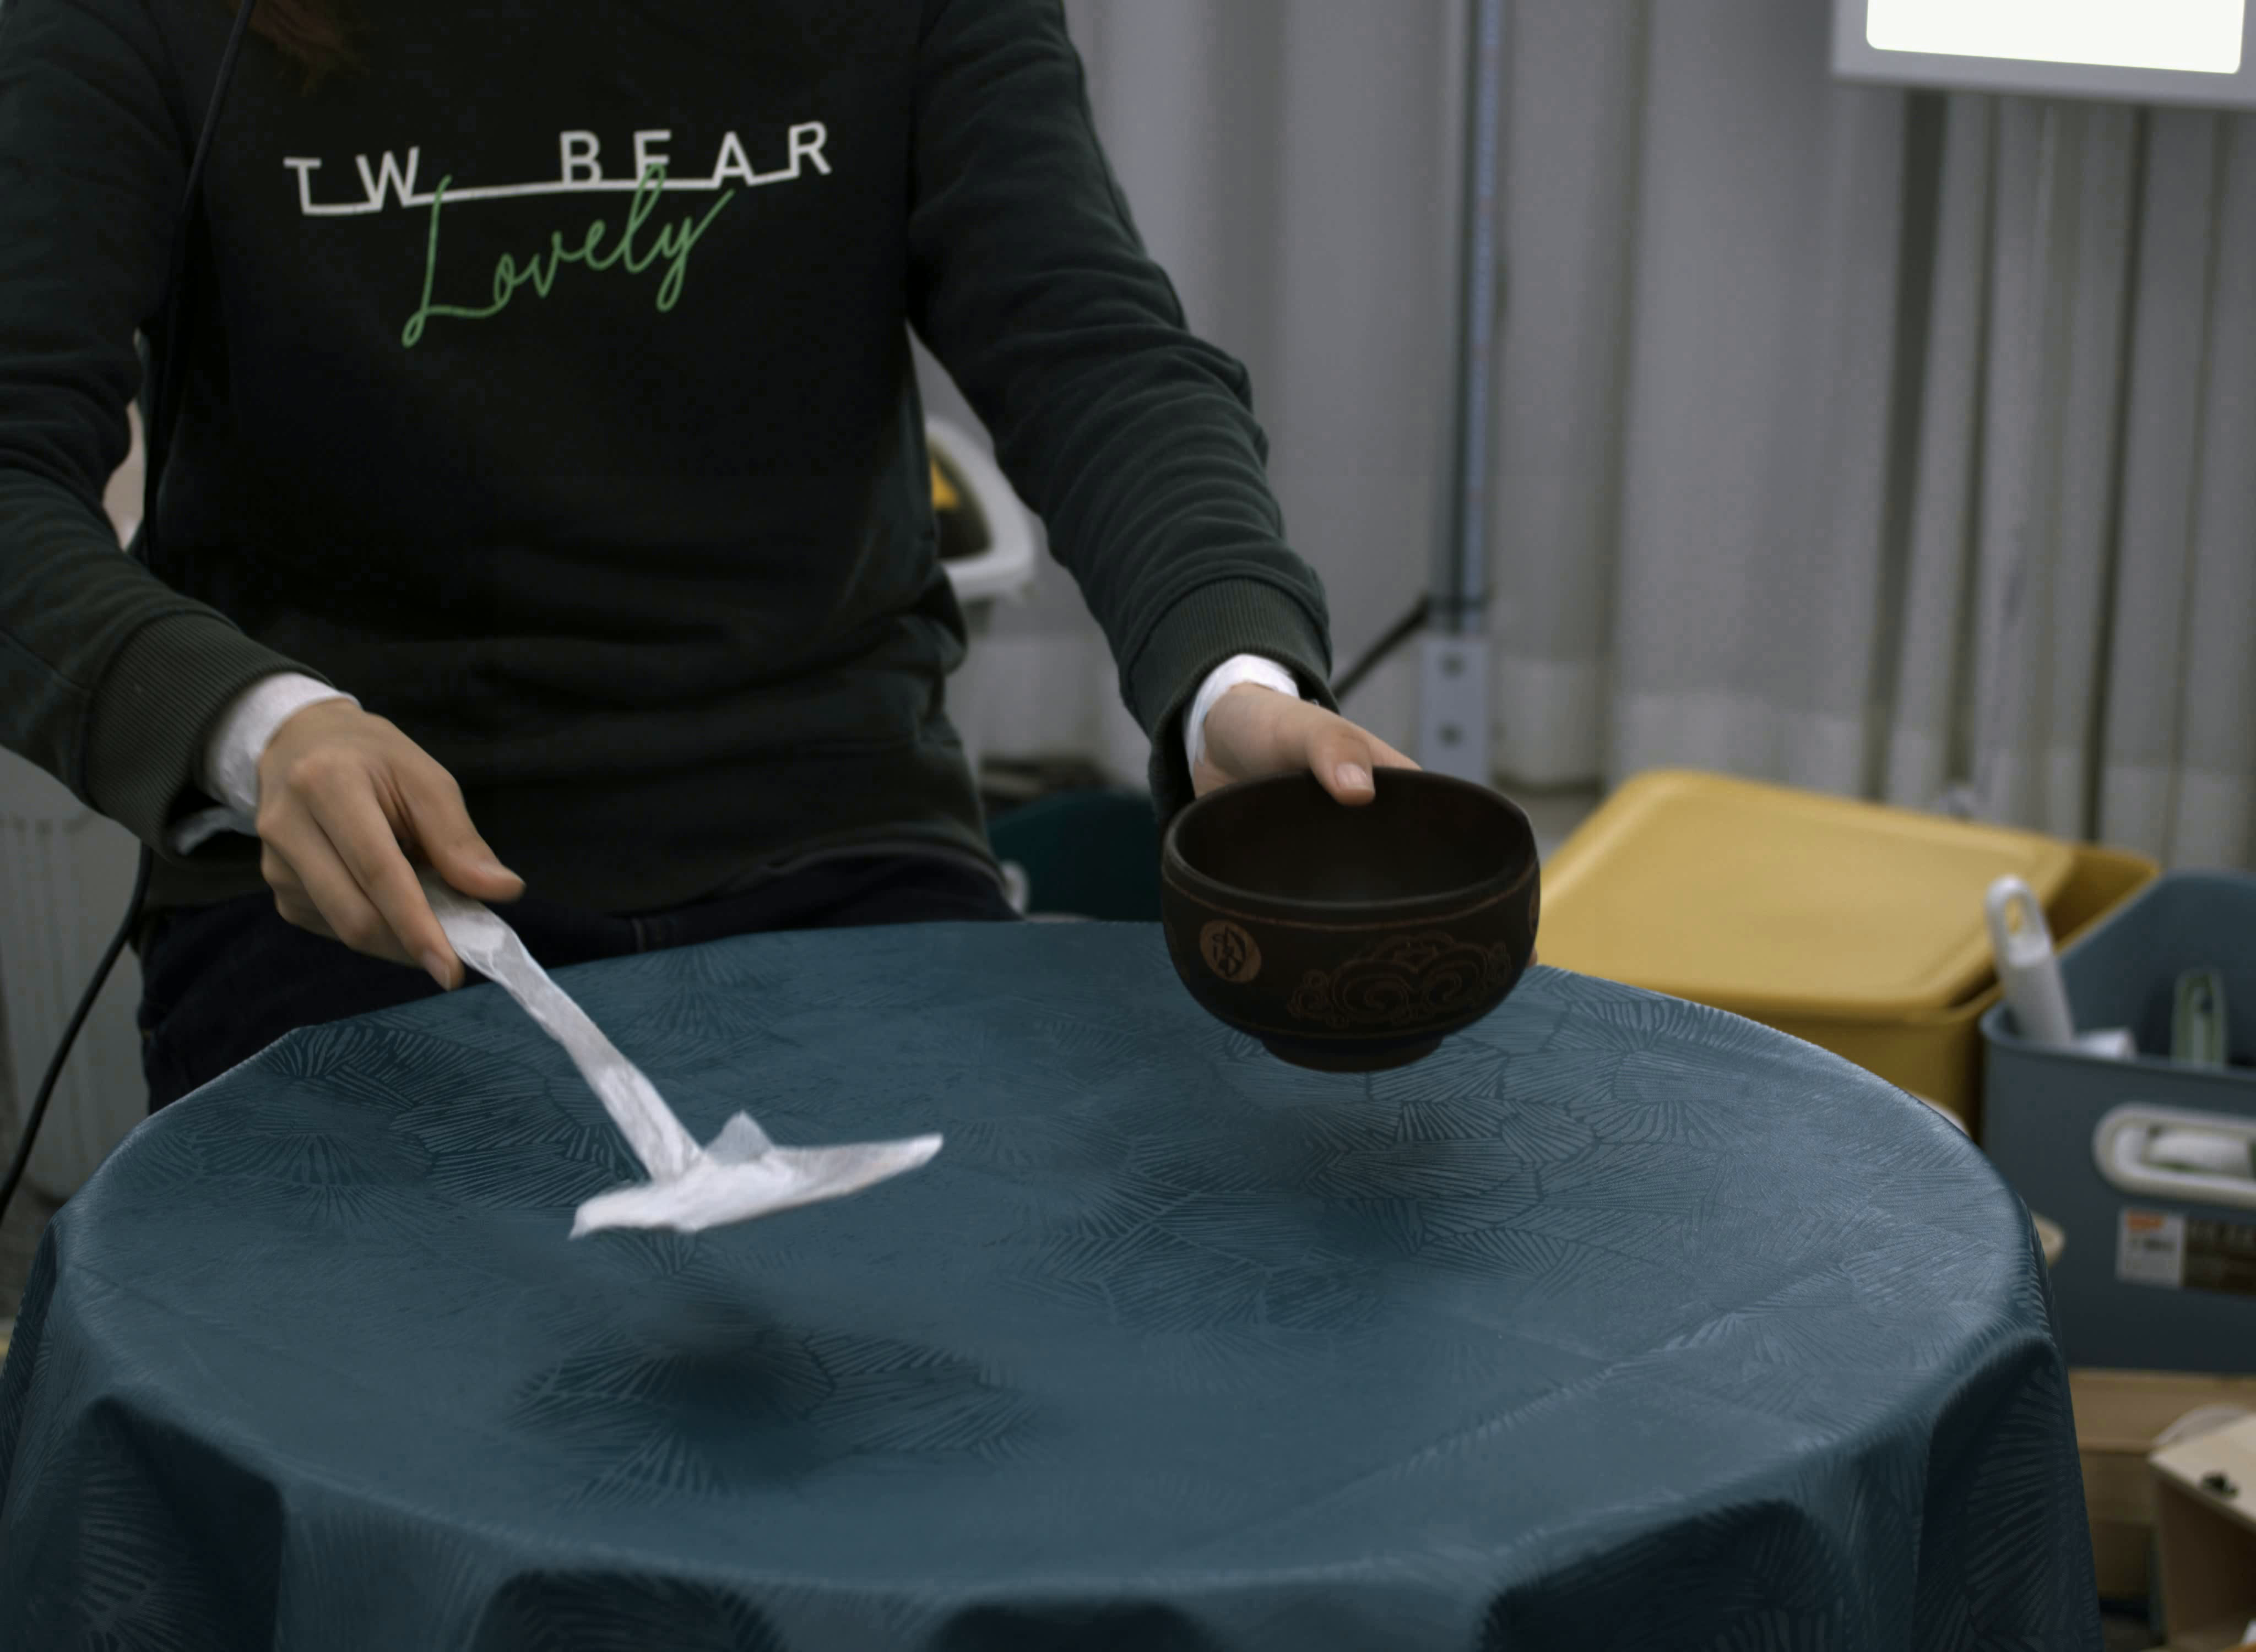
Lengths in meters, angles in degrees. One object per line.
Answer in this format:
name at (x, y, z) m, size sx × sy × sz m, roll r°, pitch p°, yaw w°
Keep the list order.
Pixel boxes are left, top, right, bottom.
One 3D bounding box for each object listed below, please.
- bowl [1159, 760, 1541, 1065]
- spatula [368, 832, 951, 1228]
bowl at (0.069, 0.031, 1.628) m, size 0.117 × 0.070 × 0.117 m, roll 0°, pitch 21°, yaw 1°
spatula at (-0.165, 0.052, 1.571) m, size 0.099 × 0.045 × 0.360 m, roll -15°, pitch 28°, yaw -24°
